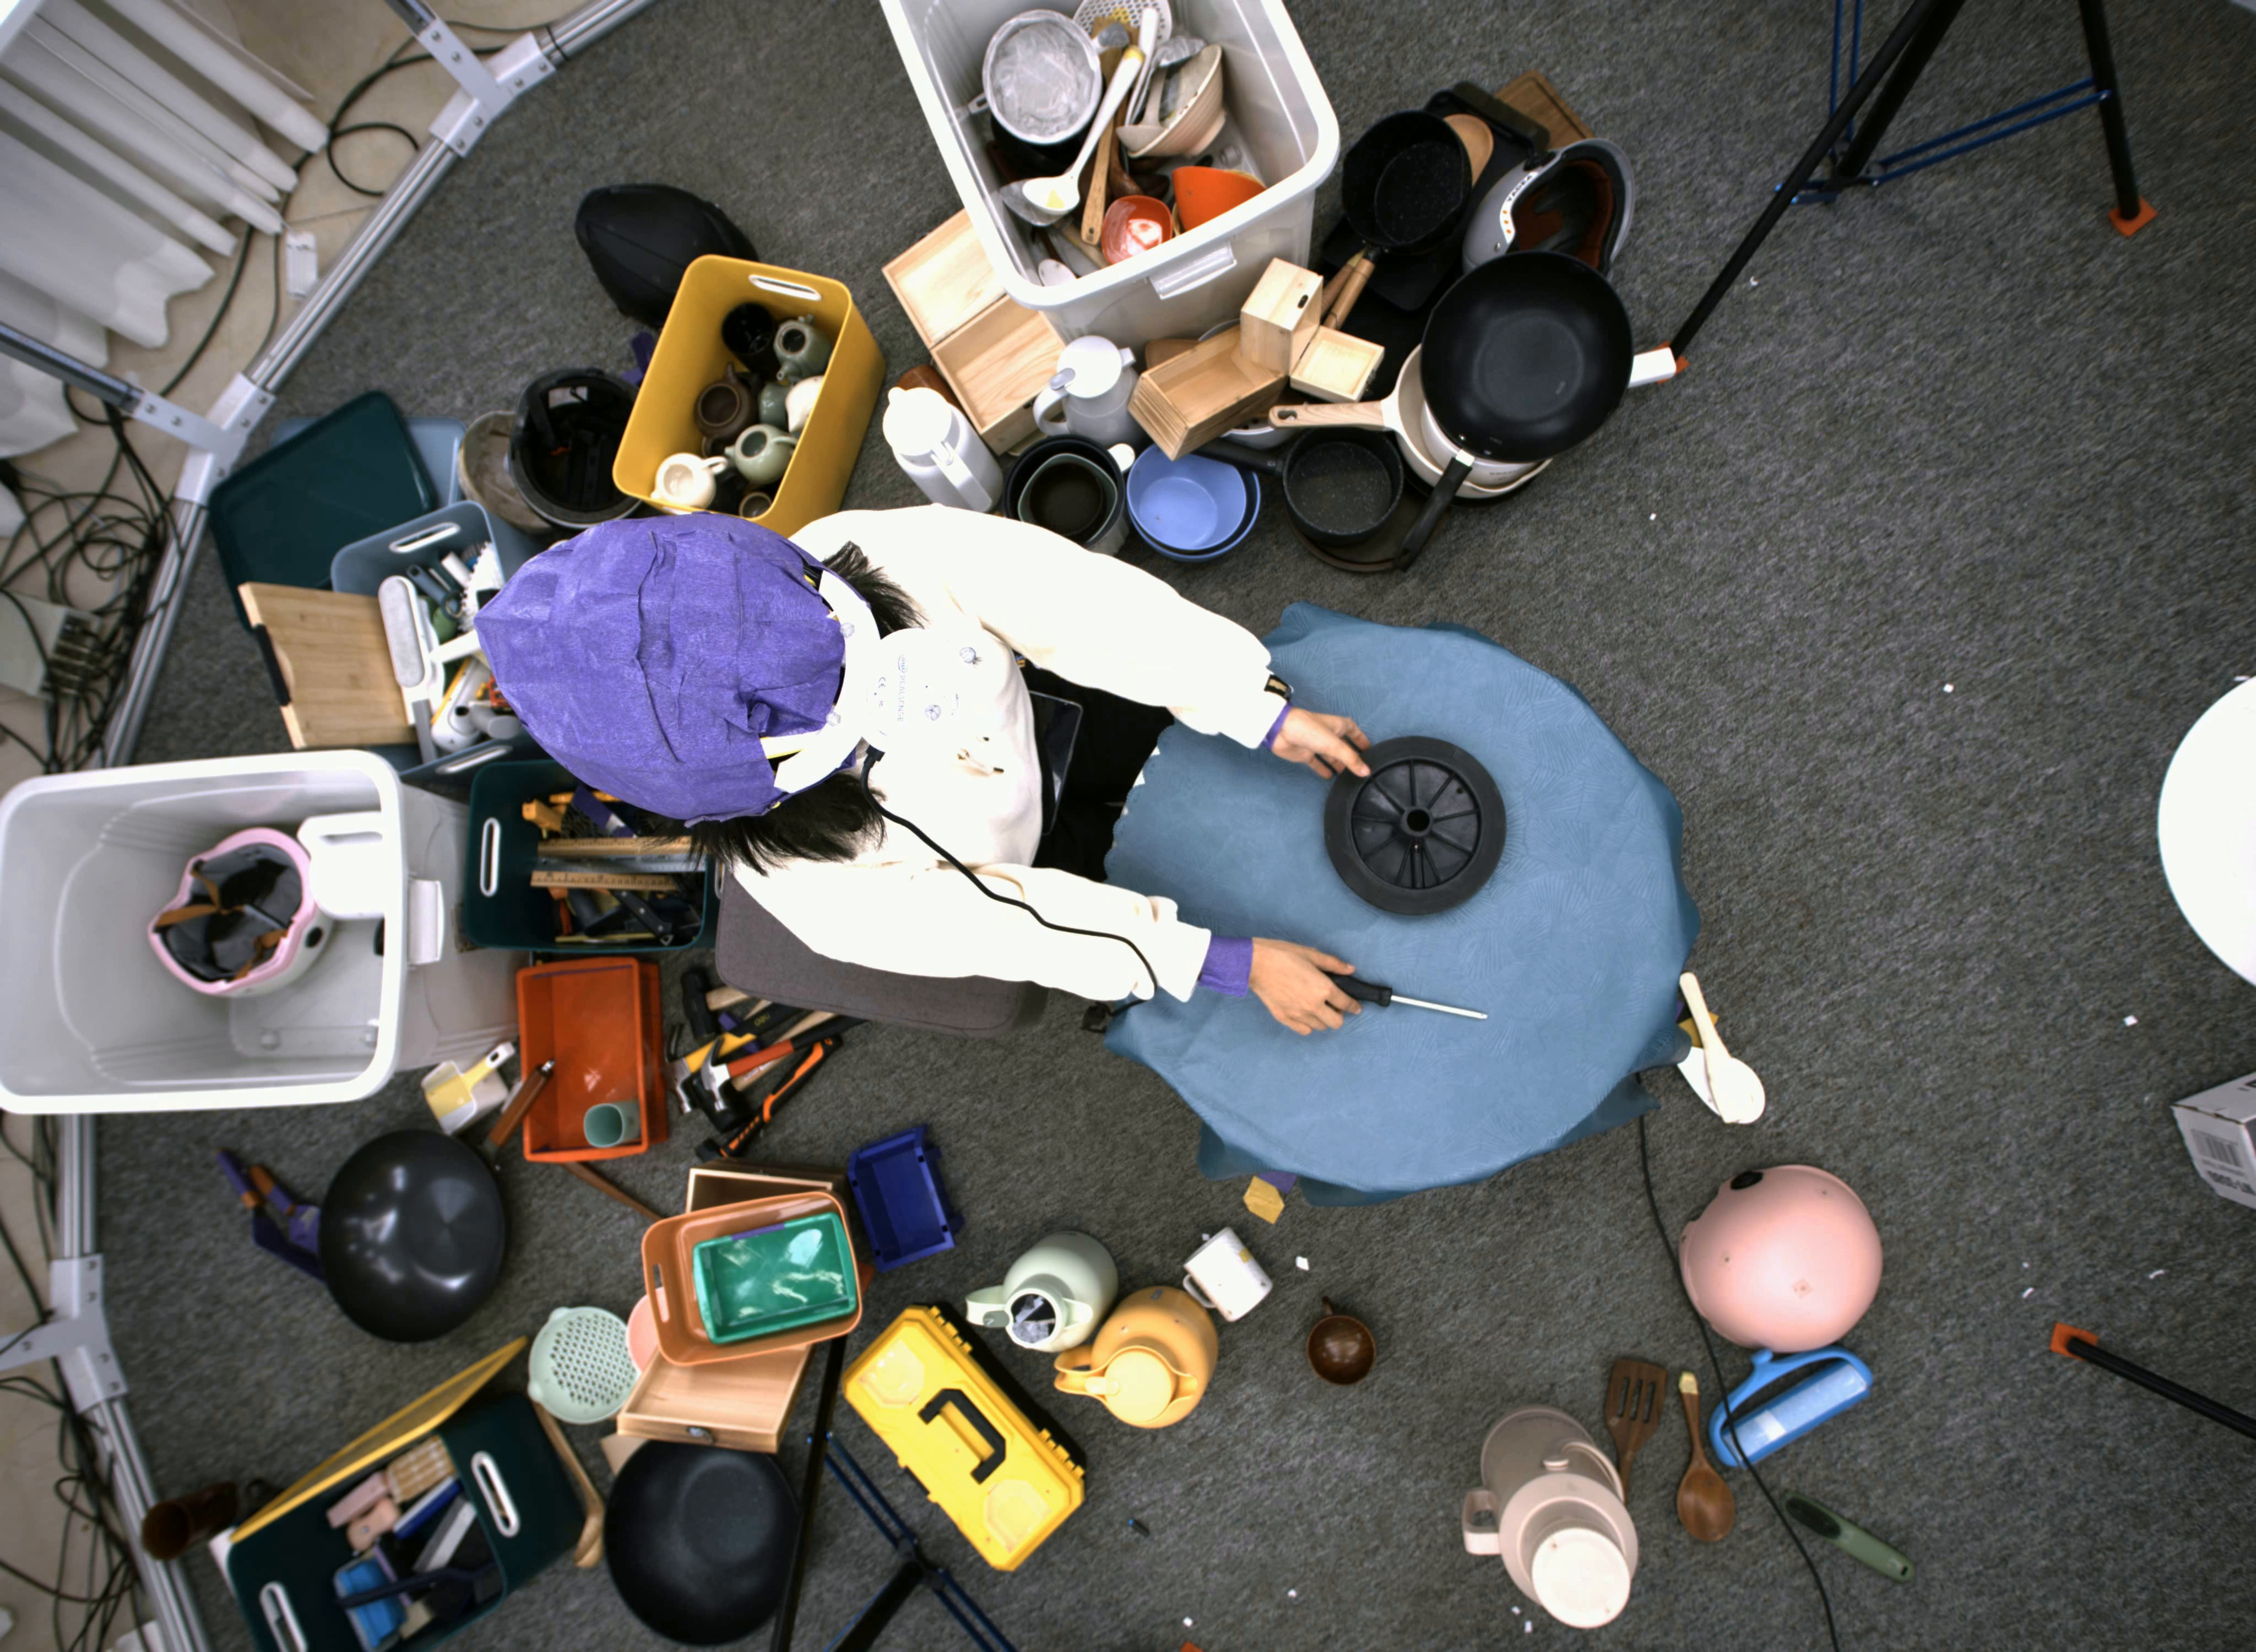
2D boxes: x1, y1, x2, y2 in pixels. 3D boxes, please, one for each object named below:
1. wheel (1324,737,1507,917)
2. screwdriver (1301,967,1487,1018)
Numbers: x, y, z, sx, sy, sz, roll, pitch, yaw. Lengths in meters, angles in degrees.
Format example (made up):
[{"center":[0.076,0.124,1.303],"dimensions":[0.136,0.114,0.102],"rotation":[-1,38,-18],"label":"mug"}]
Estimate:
[{"center":[0.297,-0.002,1.422],"dimensions":[0.188,0.079,0.189],"rotation":[-26,86,7],"label":"wheel"},{"center":[0.278,0.173,1.441],"dimensions":[0.196,0.031,0.031],"rotation":[8,86,9],"label":"screwdriver"}]
